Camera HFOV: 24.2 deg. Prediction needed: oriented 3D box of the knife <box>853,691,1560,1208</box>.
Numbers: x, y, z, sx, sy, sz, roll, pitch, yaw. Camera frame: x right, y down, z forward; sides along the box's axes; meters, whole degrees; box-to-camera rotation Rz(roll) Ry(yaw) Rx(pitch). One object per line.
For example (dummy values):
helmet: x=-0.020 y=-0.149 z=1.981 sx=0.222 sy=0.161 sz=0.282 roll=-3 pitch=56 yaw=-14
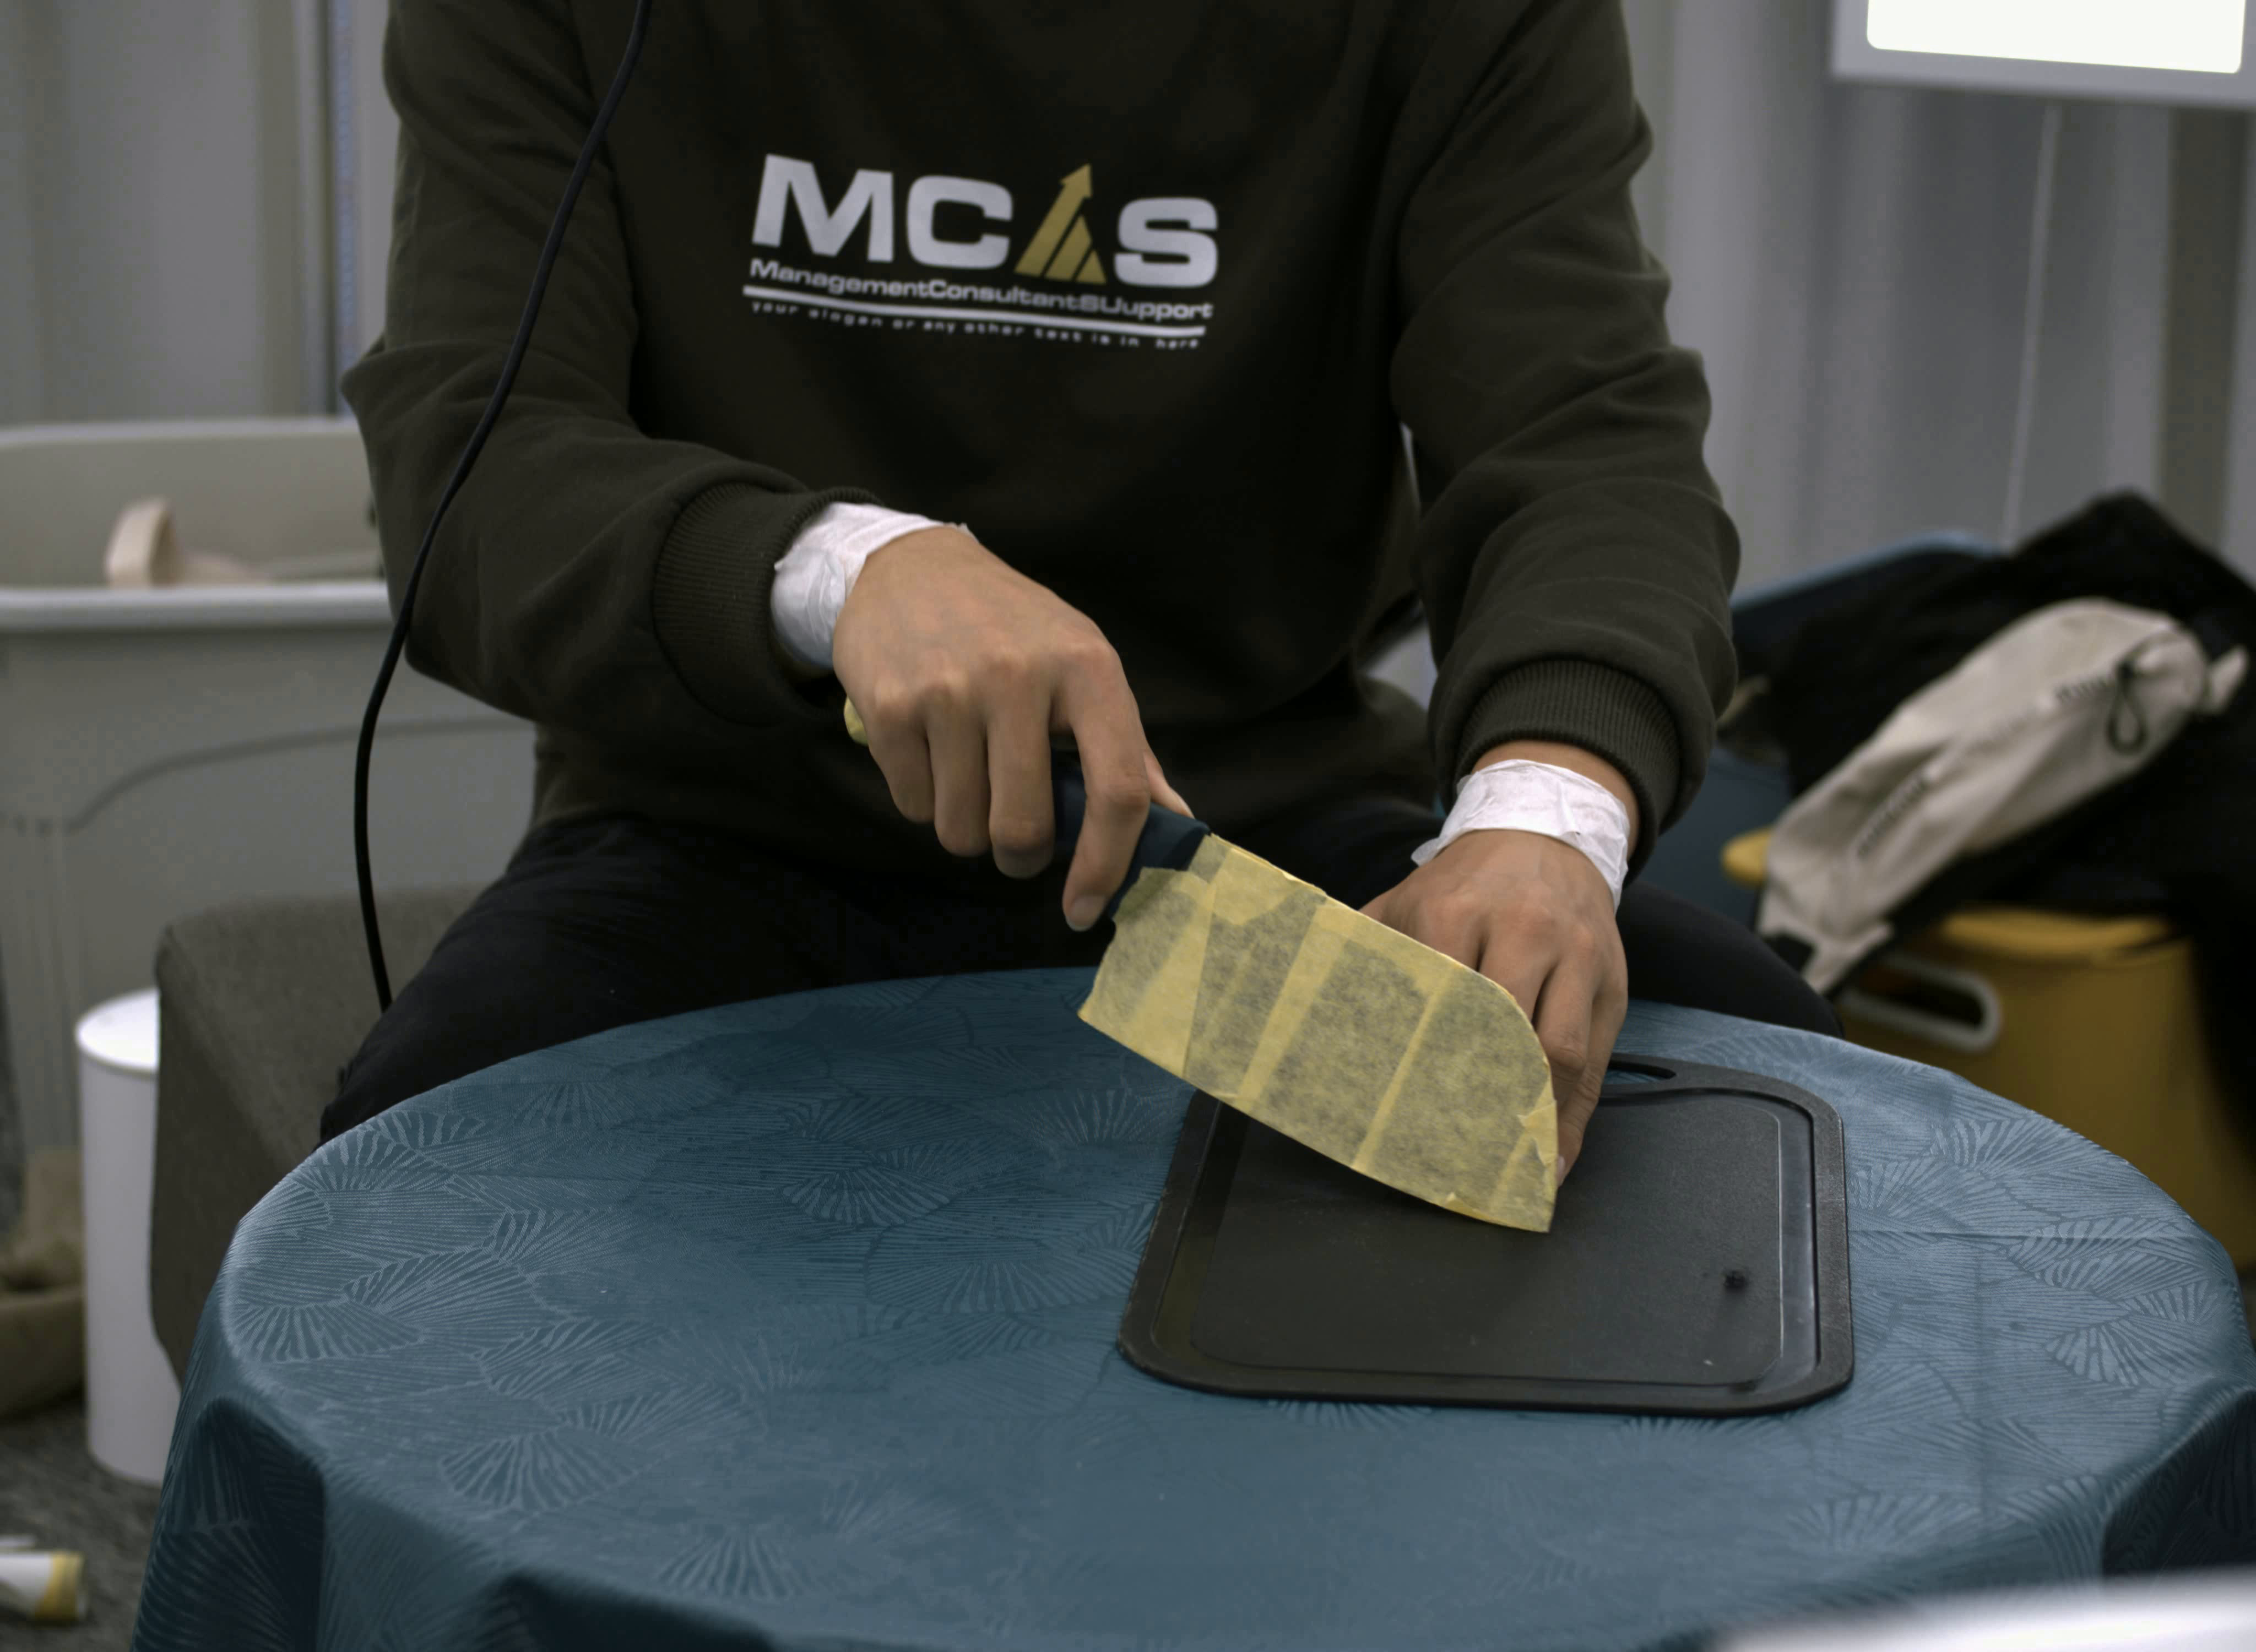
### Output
knife: x=0.019 y=0.036 z=1.645 sx=0.286 sy=0.081 sz=0.027 roll=32 pitch=6 yaw=26

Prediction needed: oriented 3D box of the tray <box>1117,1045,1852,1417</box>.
tray: x=0.113 y=0.115 z=1.605 sx=0.210 sy=0.010 sz=0.324 roll=2 pitch=16 yaw=6
